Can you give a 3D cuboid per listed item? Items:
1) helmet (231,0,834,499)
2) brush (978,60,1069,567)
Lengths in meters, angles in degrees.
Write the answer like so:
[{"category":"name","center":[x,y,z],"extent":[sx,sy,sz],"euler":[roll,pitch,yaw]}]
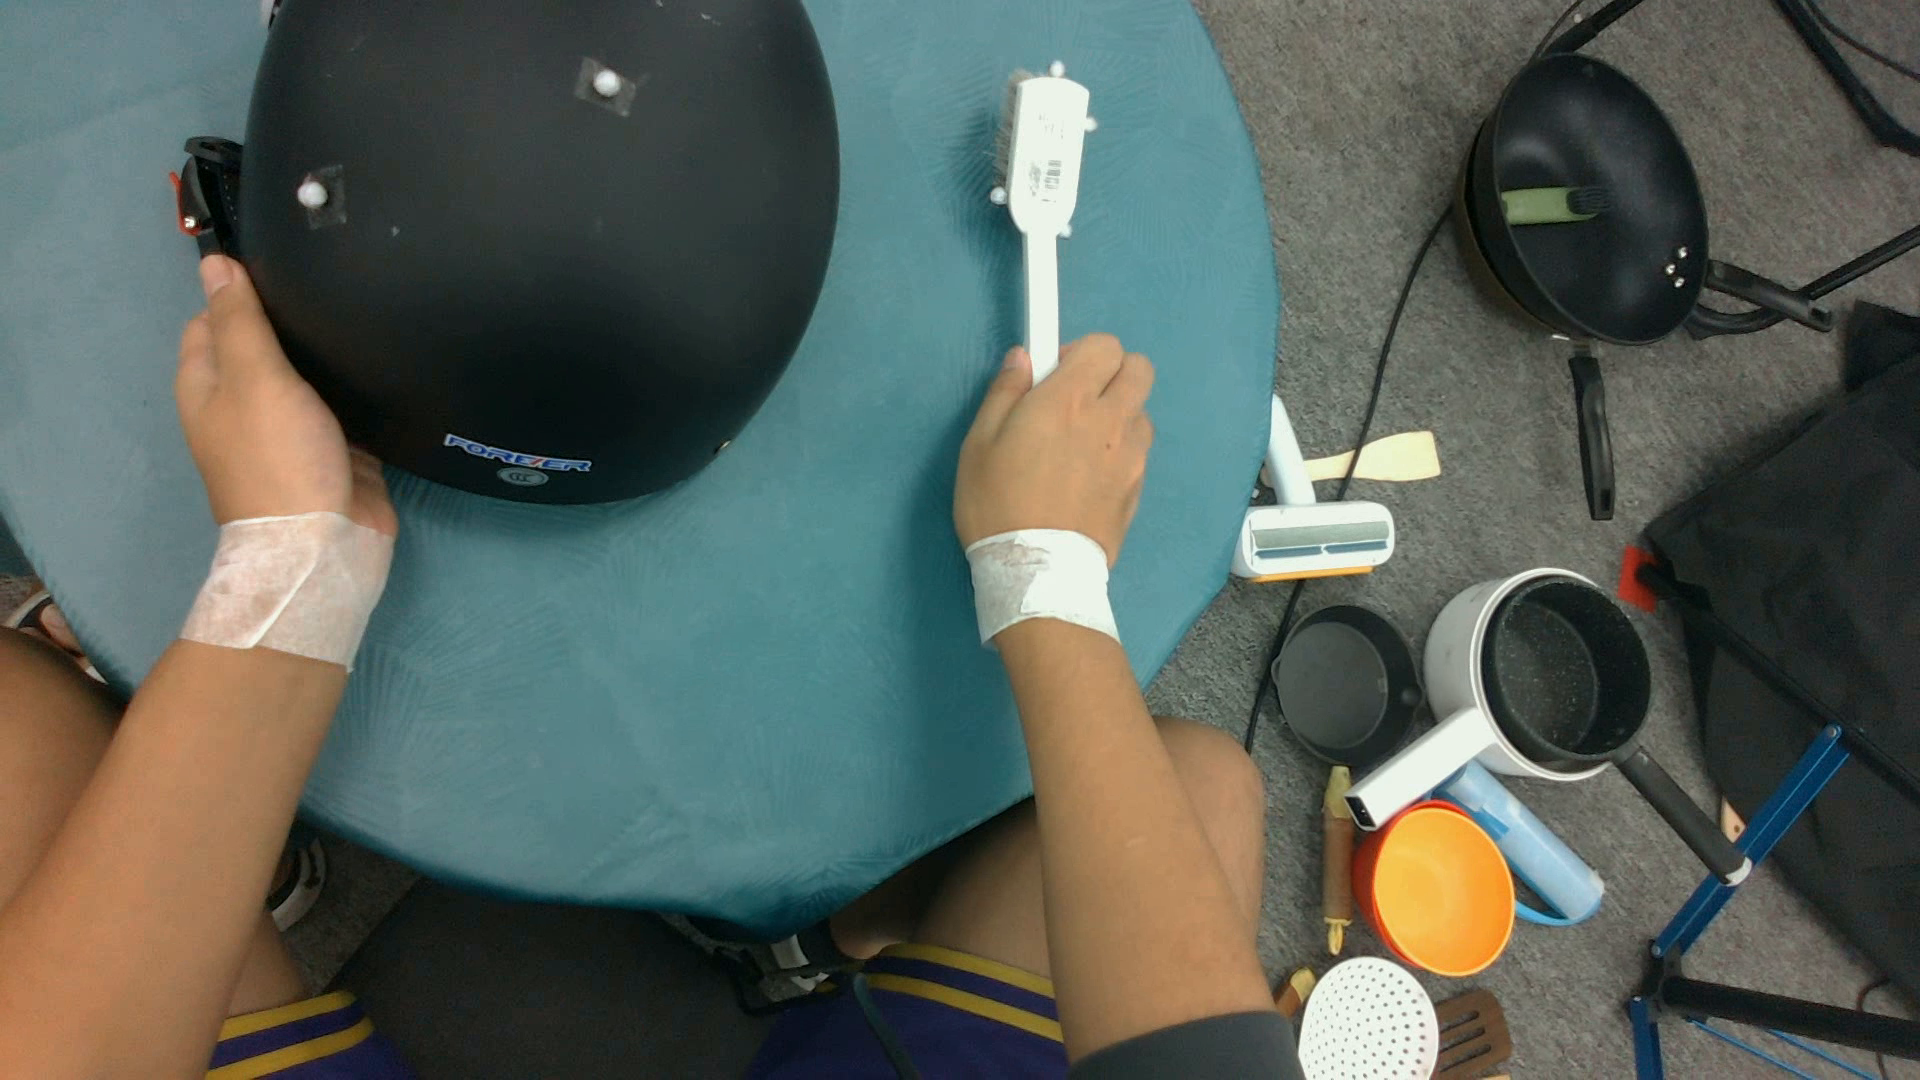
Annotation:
[{"category":"helmet","center":[-0.151,-0.157,0.531],"extent":[0.230,0.166,0.274],"euler":[15,75,-25]},{"category":"brush","center":[0.030,-0.110,0.665],"extent":[0.034,0.050,0.243],"euler":[-1,93,-15]}]
